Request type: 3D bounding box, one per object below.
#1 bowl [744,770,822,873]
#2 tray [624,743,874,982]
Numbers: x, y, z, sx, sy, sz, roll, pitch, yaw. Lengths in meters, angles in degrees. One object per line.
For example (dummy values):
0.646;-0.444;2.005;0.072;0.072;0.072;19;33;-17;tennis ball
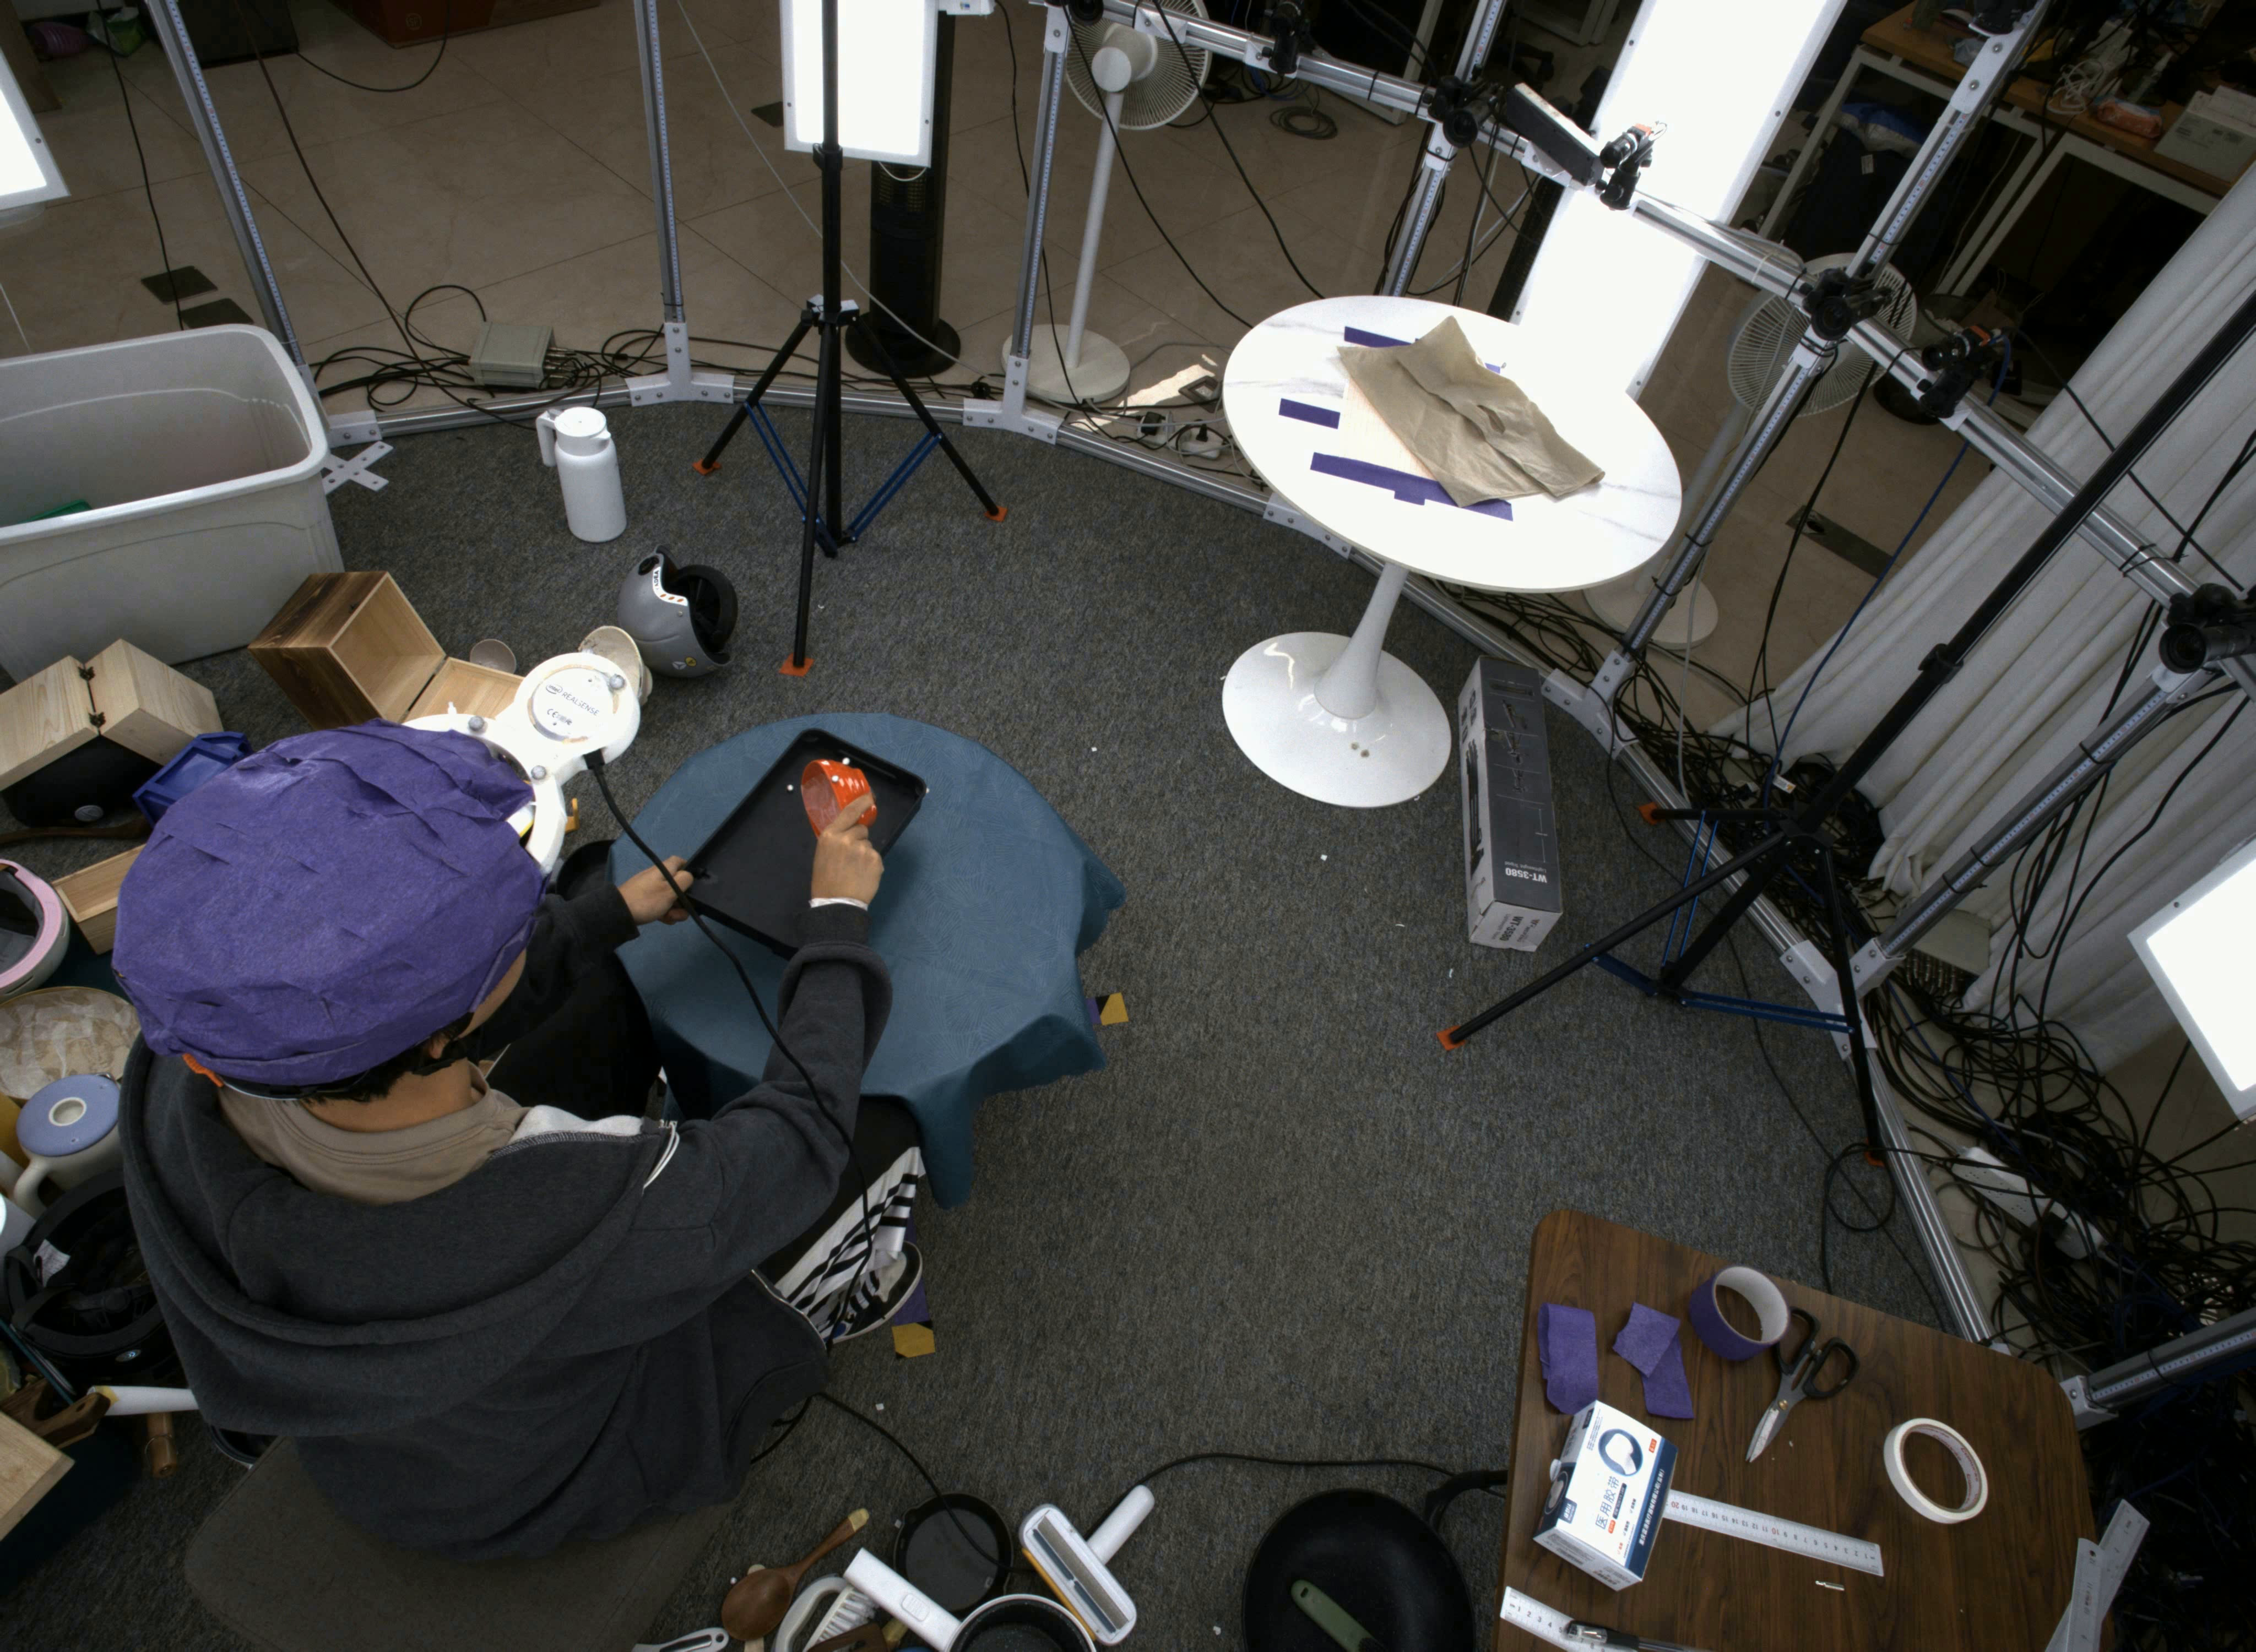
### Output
-0.384;-0.011;1.459;0.052;0.121;0.116;-20;59;-35;bowl
-0.451;0.034;1.561;0.183;0.038;0.314;24;46;0;tray
